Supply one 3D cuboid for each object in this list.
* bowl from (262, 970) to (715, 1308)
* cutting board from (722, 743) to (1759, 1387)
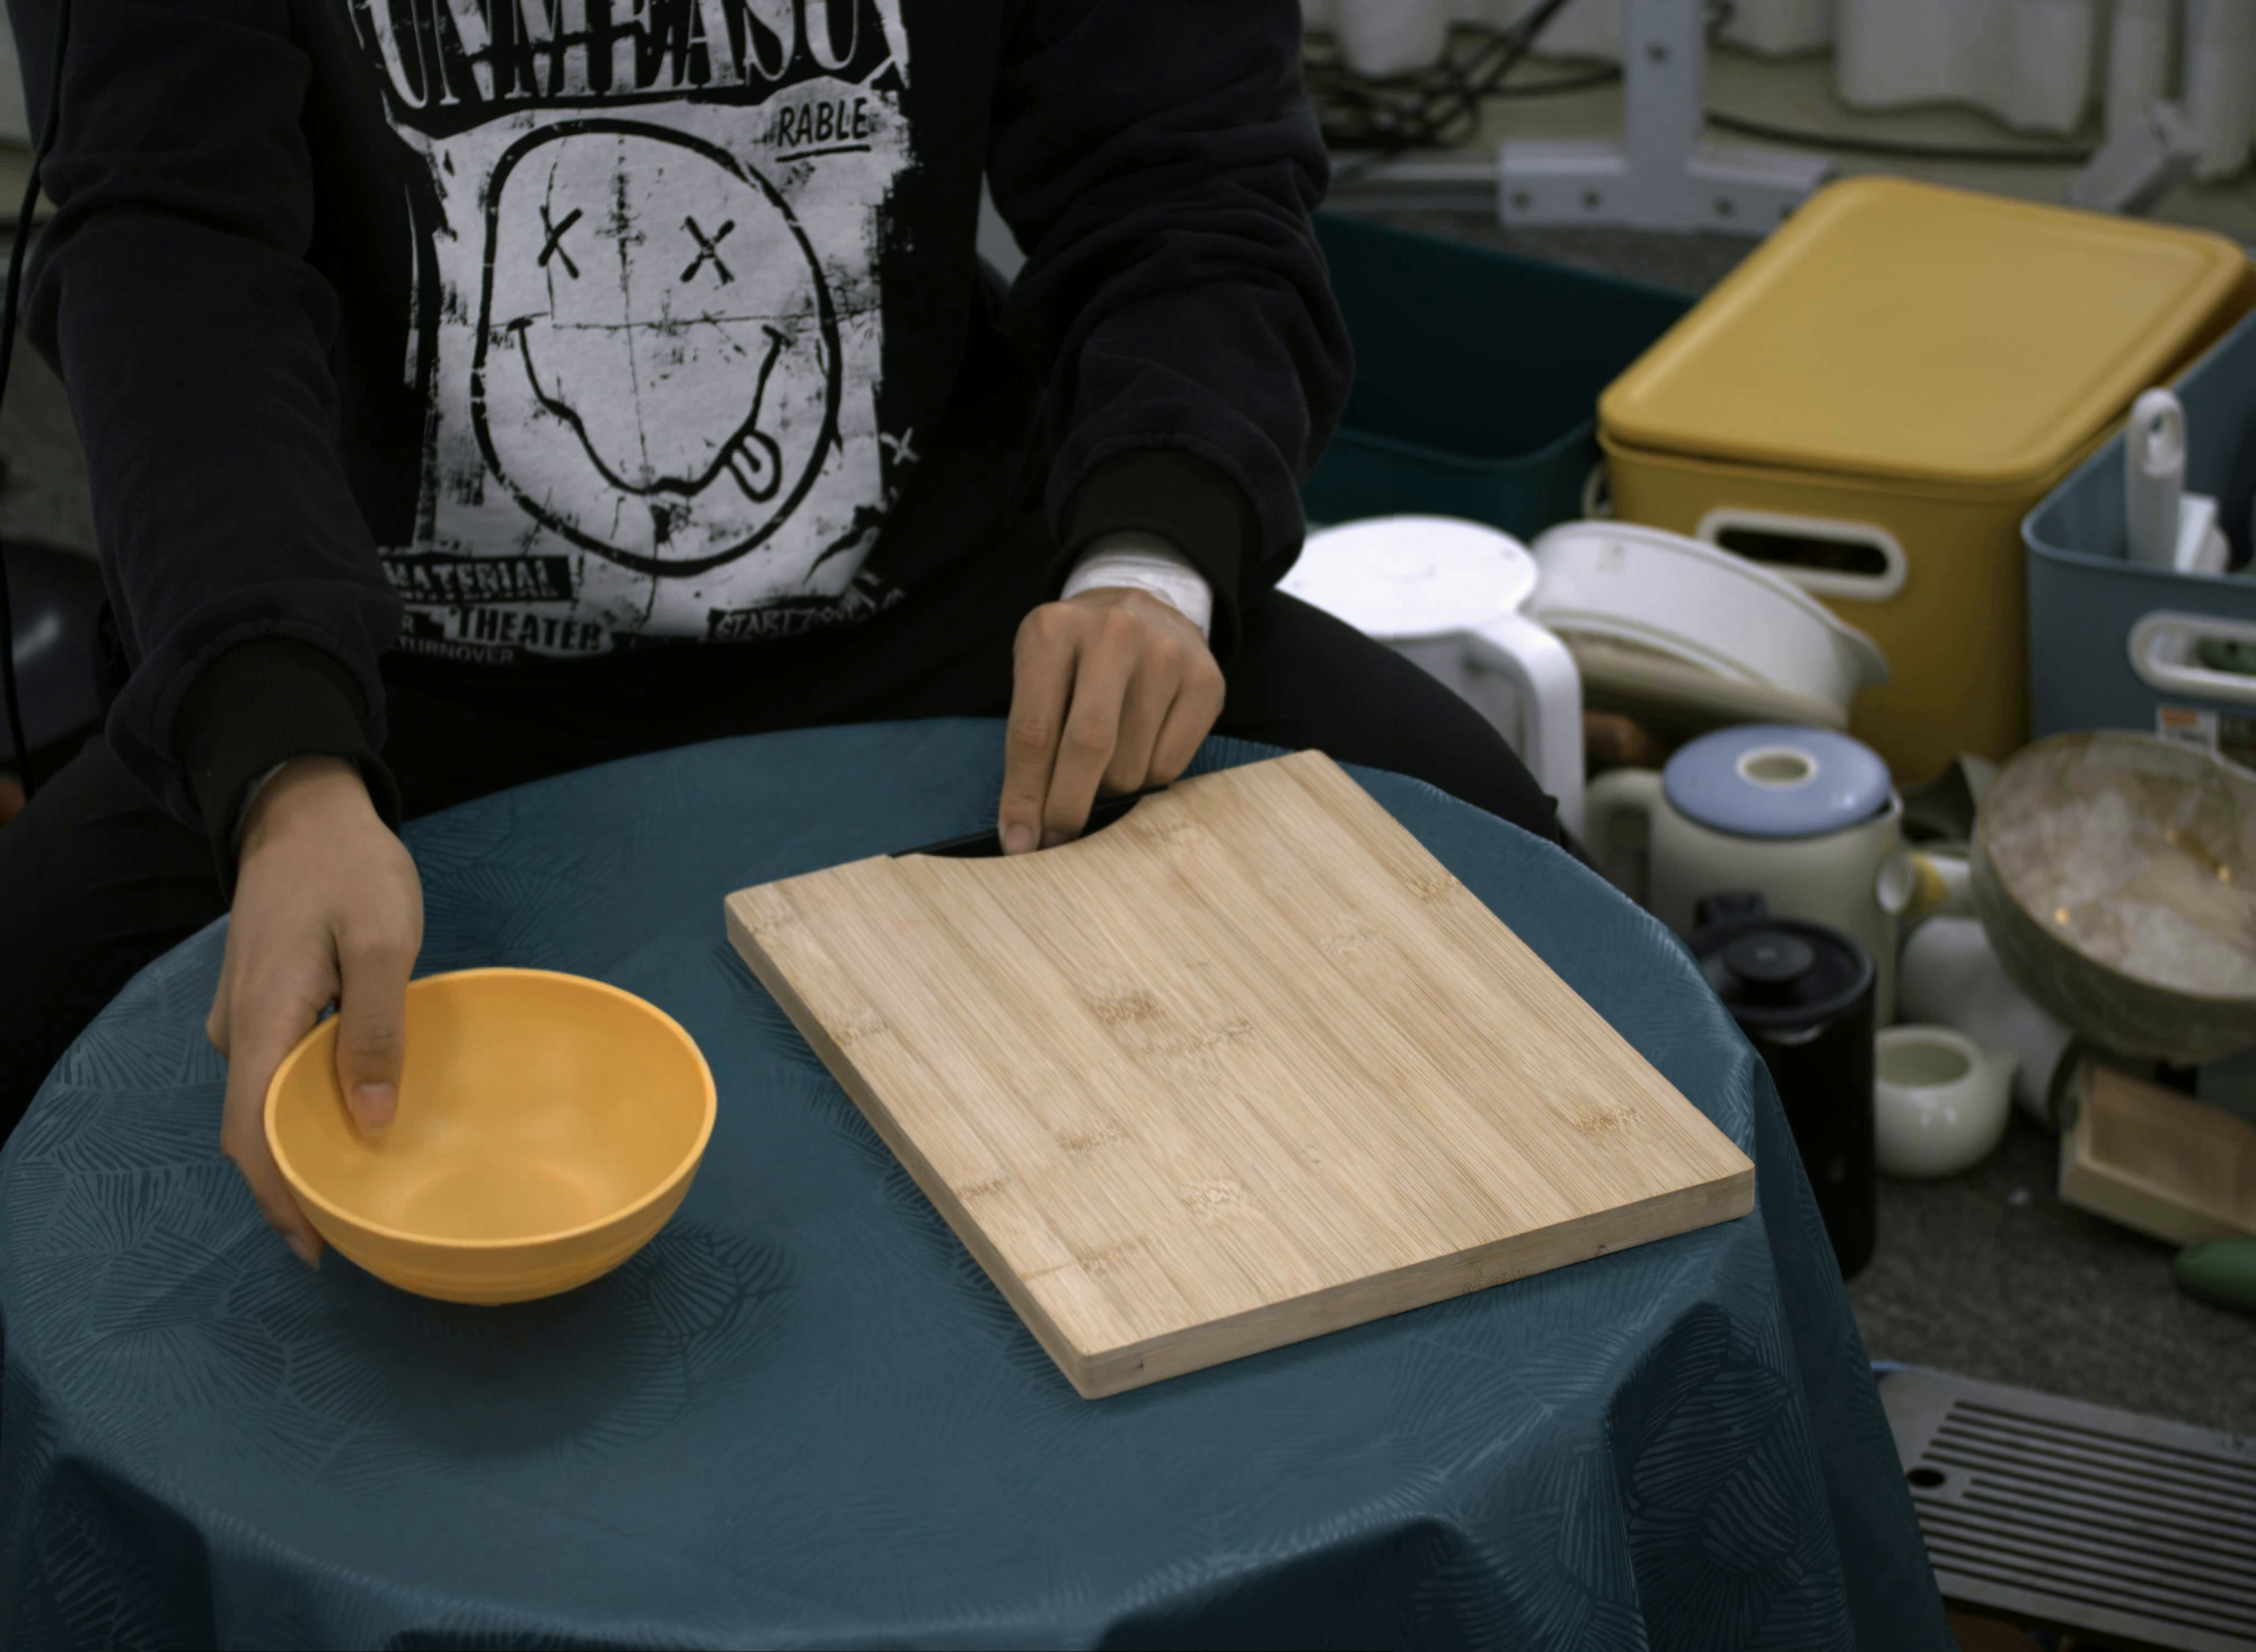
[{"bbox_3d":[-0.206,0.113,1.811,0.145,0.059,0.148,4,33,-2],"label":"bowl"},{"bbox_3d":[0.029,0.074,1.932,0.251,0.023,0.351,-14,29,-20],"label":"cutting board"}]
